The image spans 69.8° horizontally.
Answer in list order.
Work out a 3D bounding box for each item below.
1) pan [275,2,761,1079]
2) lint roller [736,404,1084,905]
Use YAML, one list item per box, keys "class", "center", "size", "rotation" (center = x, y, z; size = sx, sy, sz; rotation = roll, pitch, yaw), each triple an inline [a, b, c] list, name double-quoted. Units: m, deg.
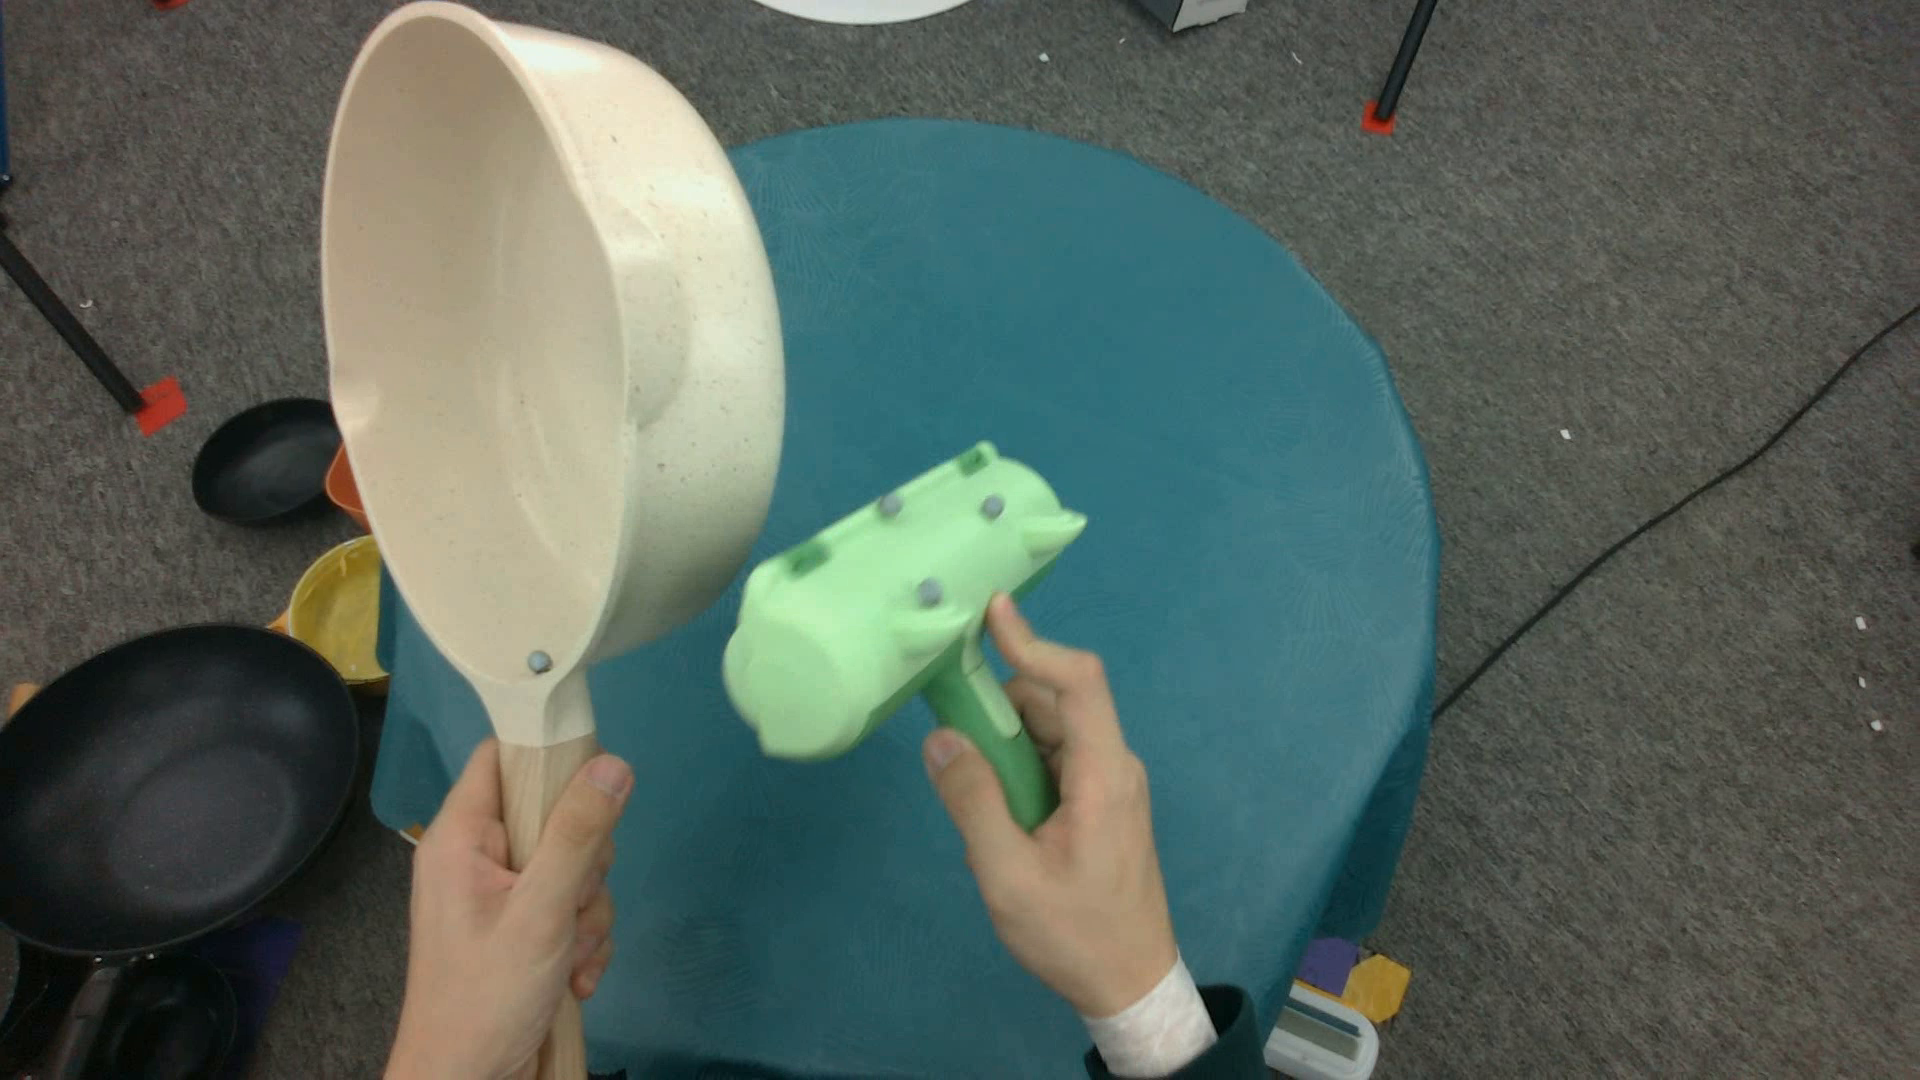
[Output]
- class: "pan"
  center: [-0.159, 0.018, 0.539]
  size: [0.102, 0.262, 0.434]
  rotation: [-16, 97, -45]
- class: "lint roller"
  center: [0.018, 0.047, 0.509]
  size: [0.082, 0.199, 0.183]
  rotation: [-29, 95, 26]
